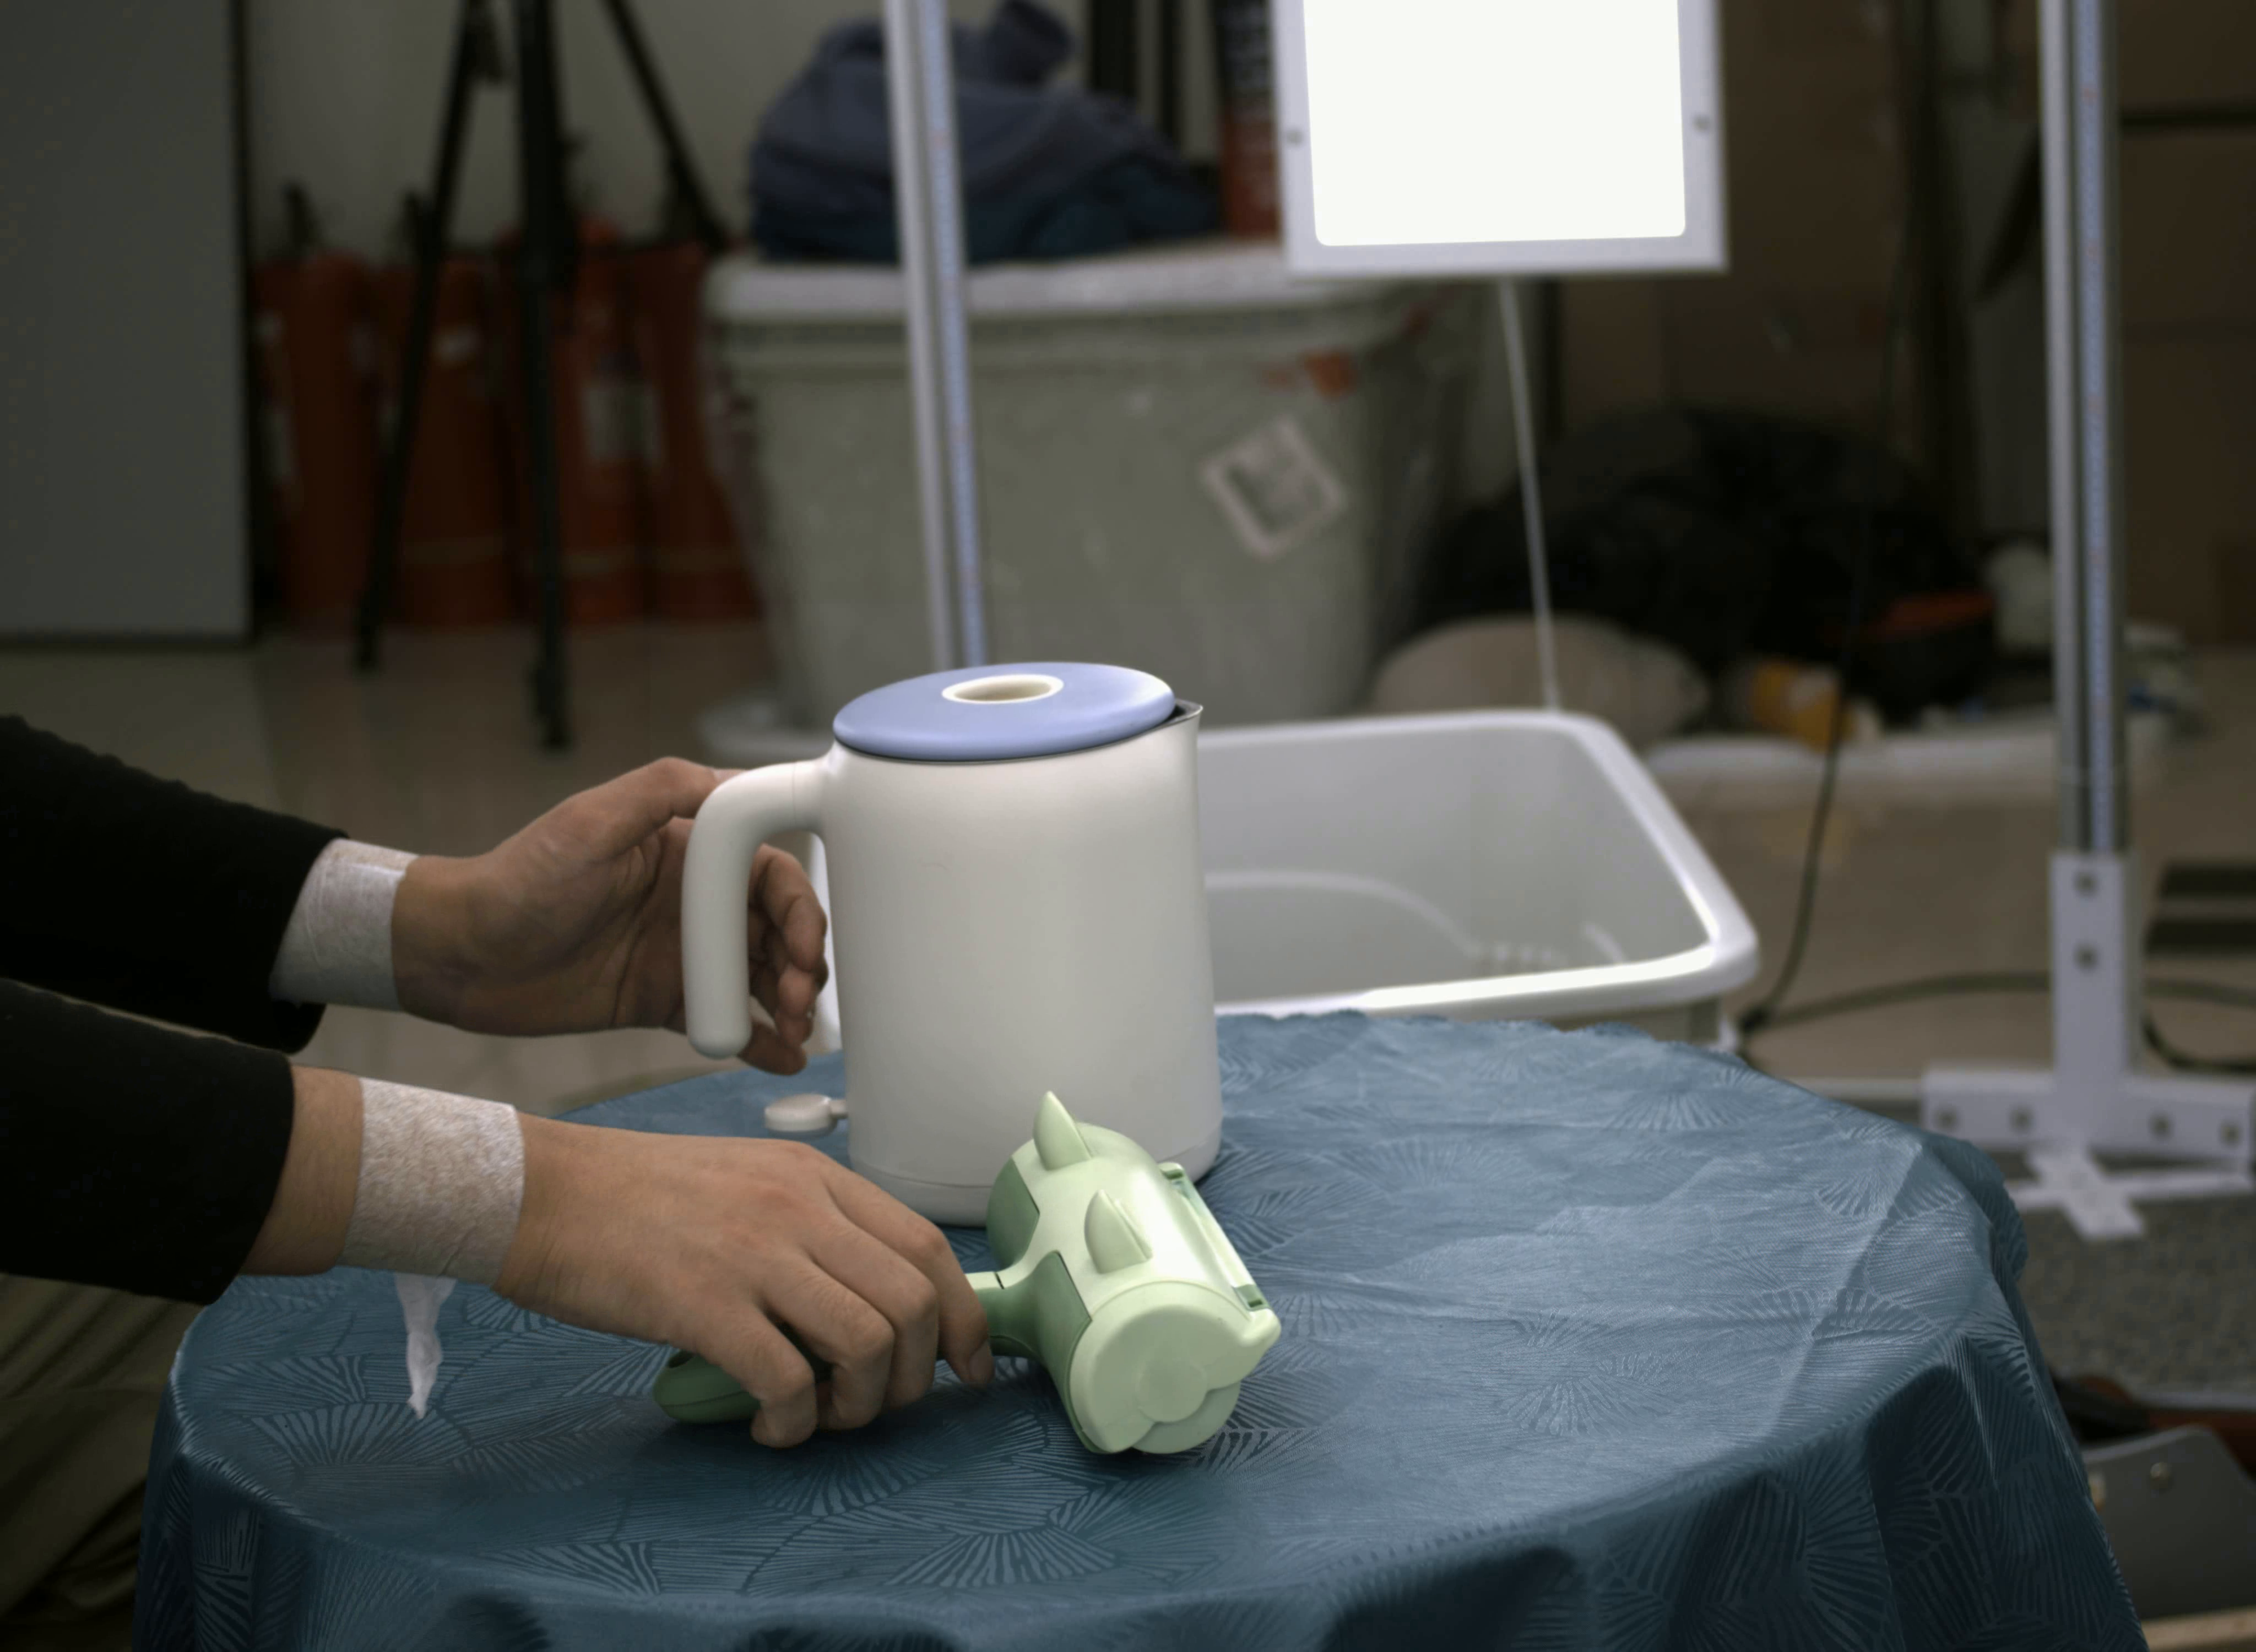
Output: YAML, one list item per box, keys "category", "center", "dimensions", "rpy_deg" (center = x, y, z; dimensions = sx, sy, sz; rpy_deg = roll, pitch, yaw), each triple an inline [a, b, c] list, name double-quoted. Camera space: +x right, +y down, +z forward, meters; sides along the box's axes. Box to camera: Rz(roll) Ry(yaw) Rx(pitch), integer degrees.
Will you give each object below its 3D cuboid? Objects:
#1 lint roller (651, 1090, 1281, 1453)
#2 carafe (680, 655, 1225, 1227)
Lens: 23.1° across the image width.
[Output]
- category: "lint roller"
  center: [-0.058, 0.139, 1.708]
  dimensions: [0.182, 0.082, 0.199]
  rpy_deg: [-4, 12, -7]
- category: "carafe"
  center: [-0.061, 0.041, 1.906]
  dimensions: [0.191, 0.183, 0.131]
  rpy_deg: [-6, 13, 4]
